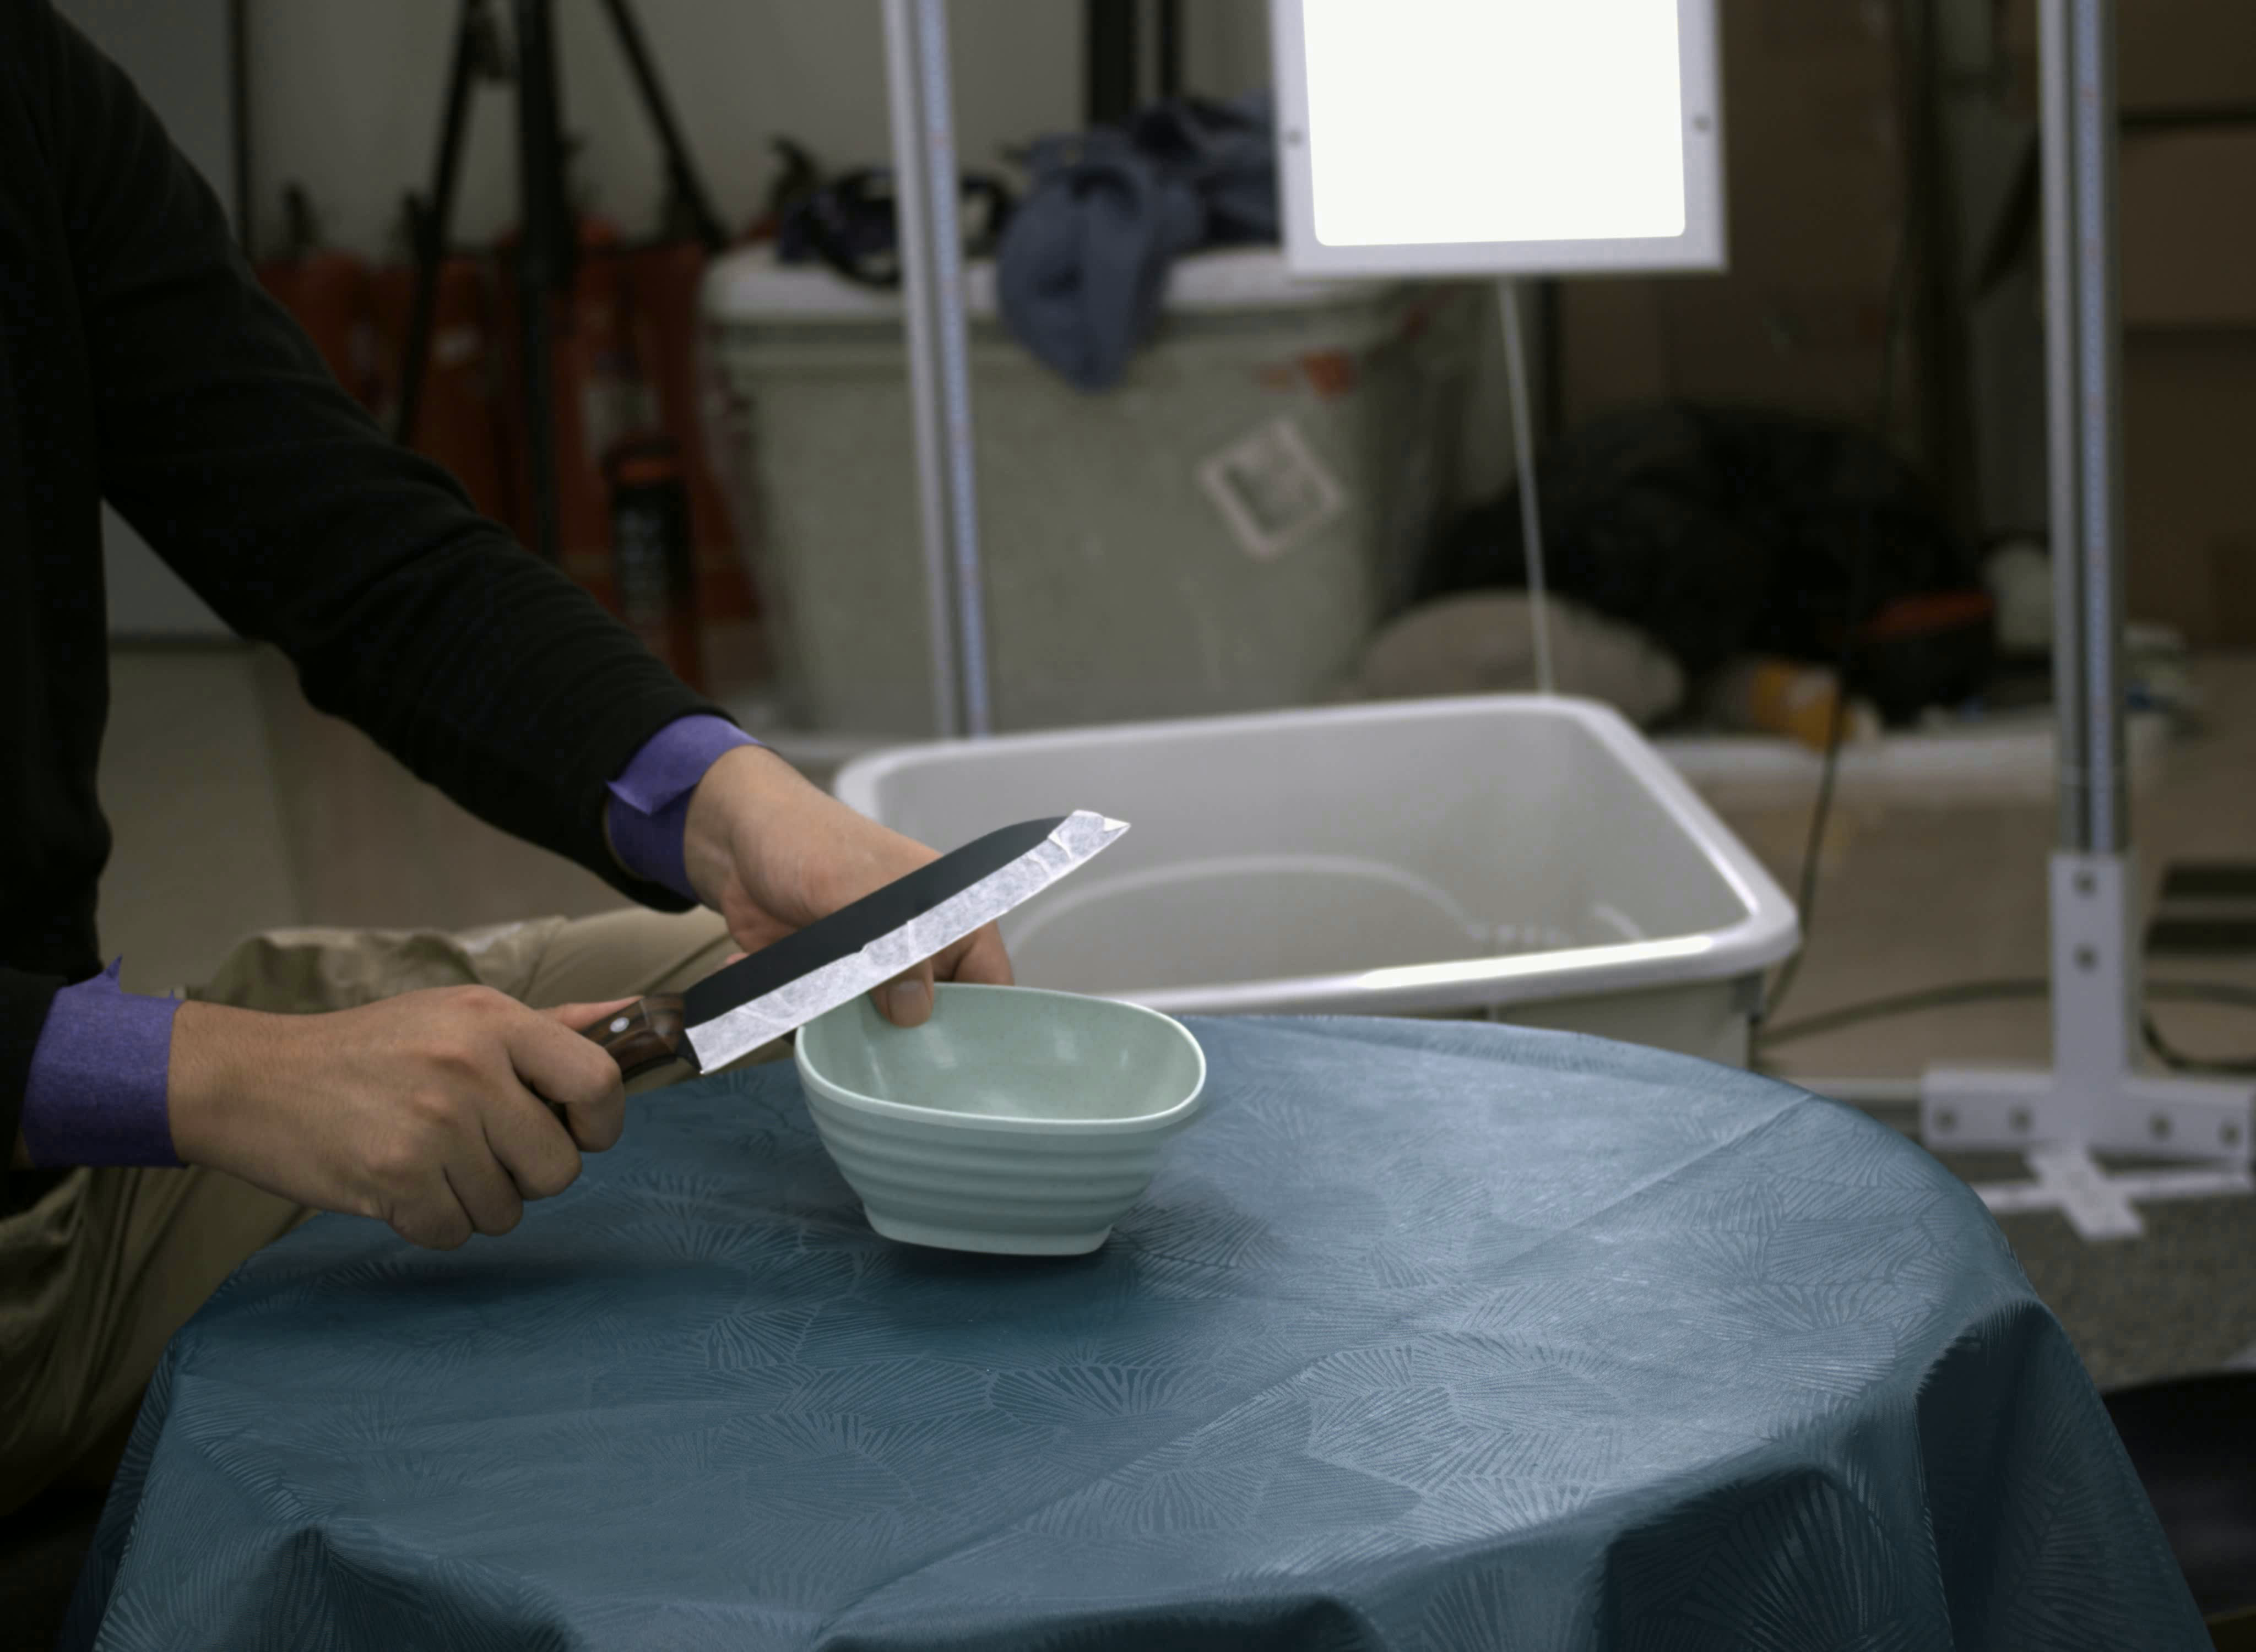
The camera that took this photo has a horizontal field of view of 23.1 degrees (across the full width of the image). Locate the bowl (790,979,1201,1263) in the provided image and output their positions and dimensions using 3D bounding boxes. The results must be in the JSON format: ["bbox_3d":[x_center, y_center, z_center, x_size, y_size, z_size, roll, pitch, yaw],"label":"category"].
[{"bbox_3d":[-0.047,0.103,1.849,0.150,0.059,0.151,6,17,-3],"label":"bowl"}]

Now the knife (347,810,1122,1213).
[{"bbox_3d":[-0.132,0.060,1.868,0.289,0.020,0.050,-26,42,1],"label":"knife"}]
